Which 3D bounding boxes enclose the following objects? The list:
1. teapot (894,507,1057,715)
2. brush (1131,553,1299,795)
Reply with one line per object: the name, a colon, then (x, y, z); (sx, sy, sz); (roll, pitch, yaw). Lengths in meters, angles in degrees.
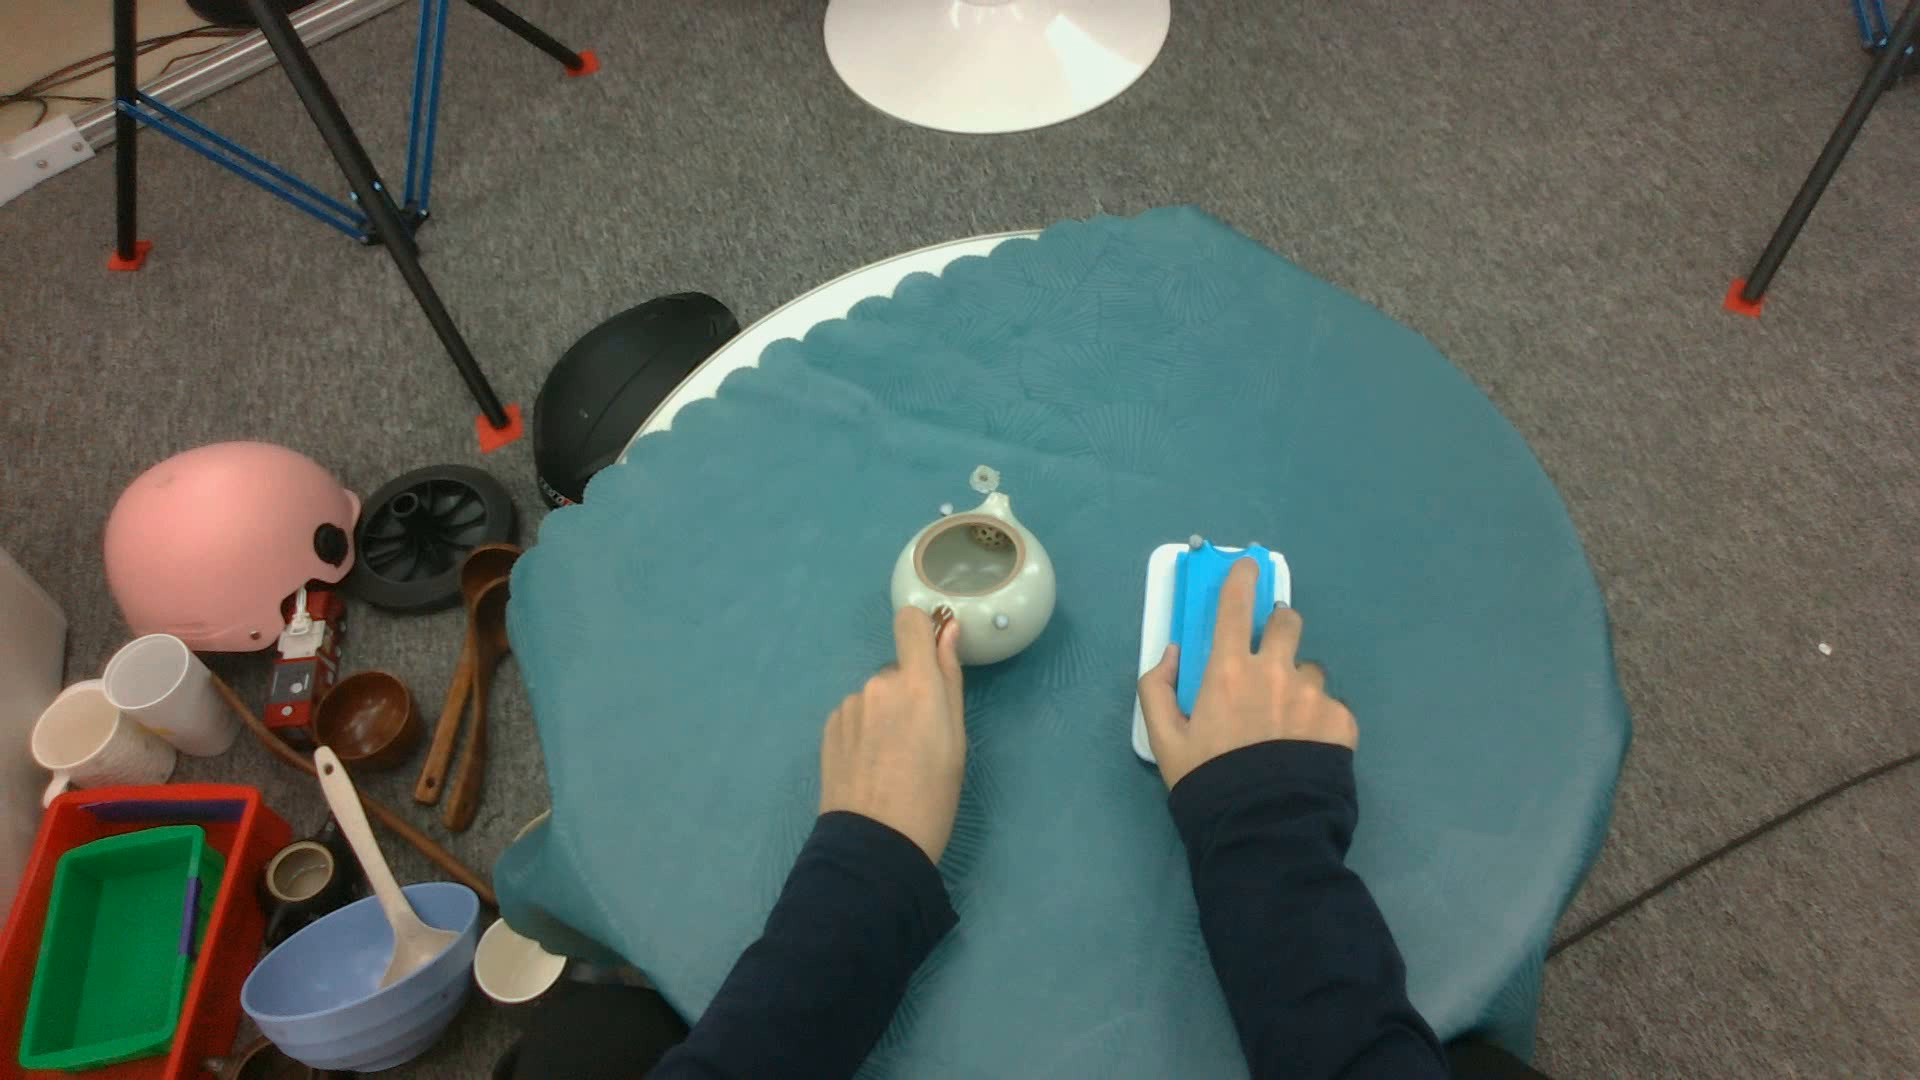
teapot: (0.006, 0.042, 0.767); (0.092, 0.059, 0.129); (11, 48, 14)
brush: (0.140, 0.064, 0.744); (0.084, 0.055, 0.144); (5, 54, 12)
